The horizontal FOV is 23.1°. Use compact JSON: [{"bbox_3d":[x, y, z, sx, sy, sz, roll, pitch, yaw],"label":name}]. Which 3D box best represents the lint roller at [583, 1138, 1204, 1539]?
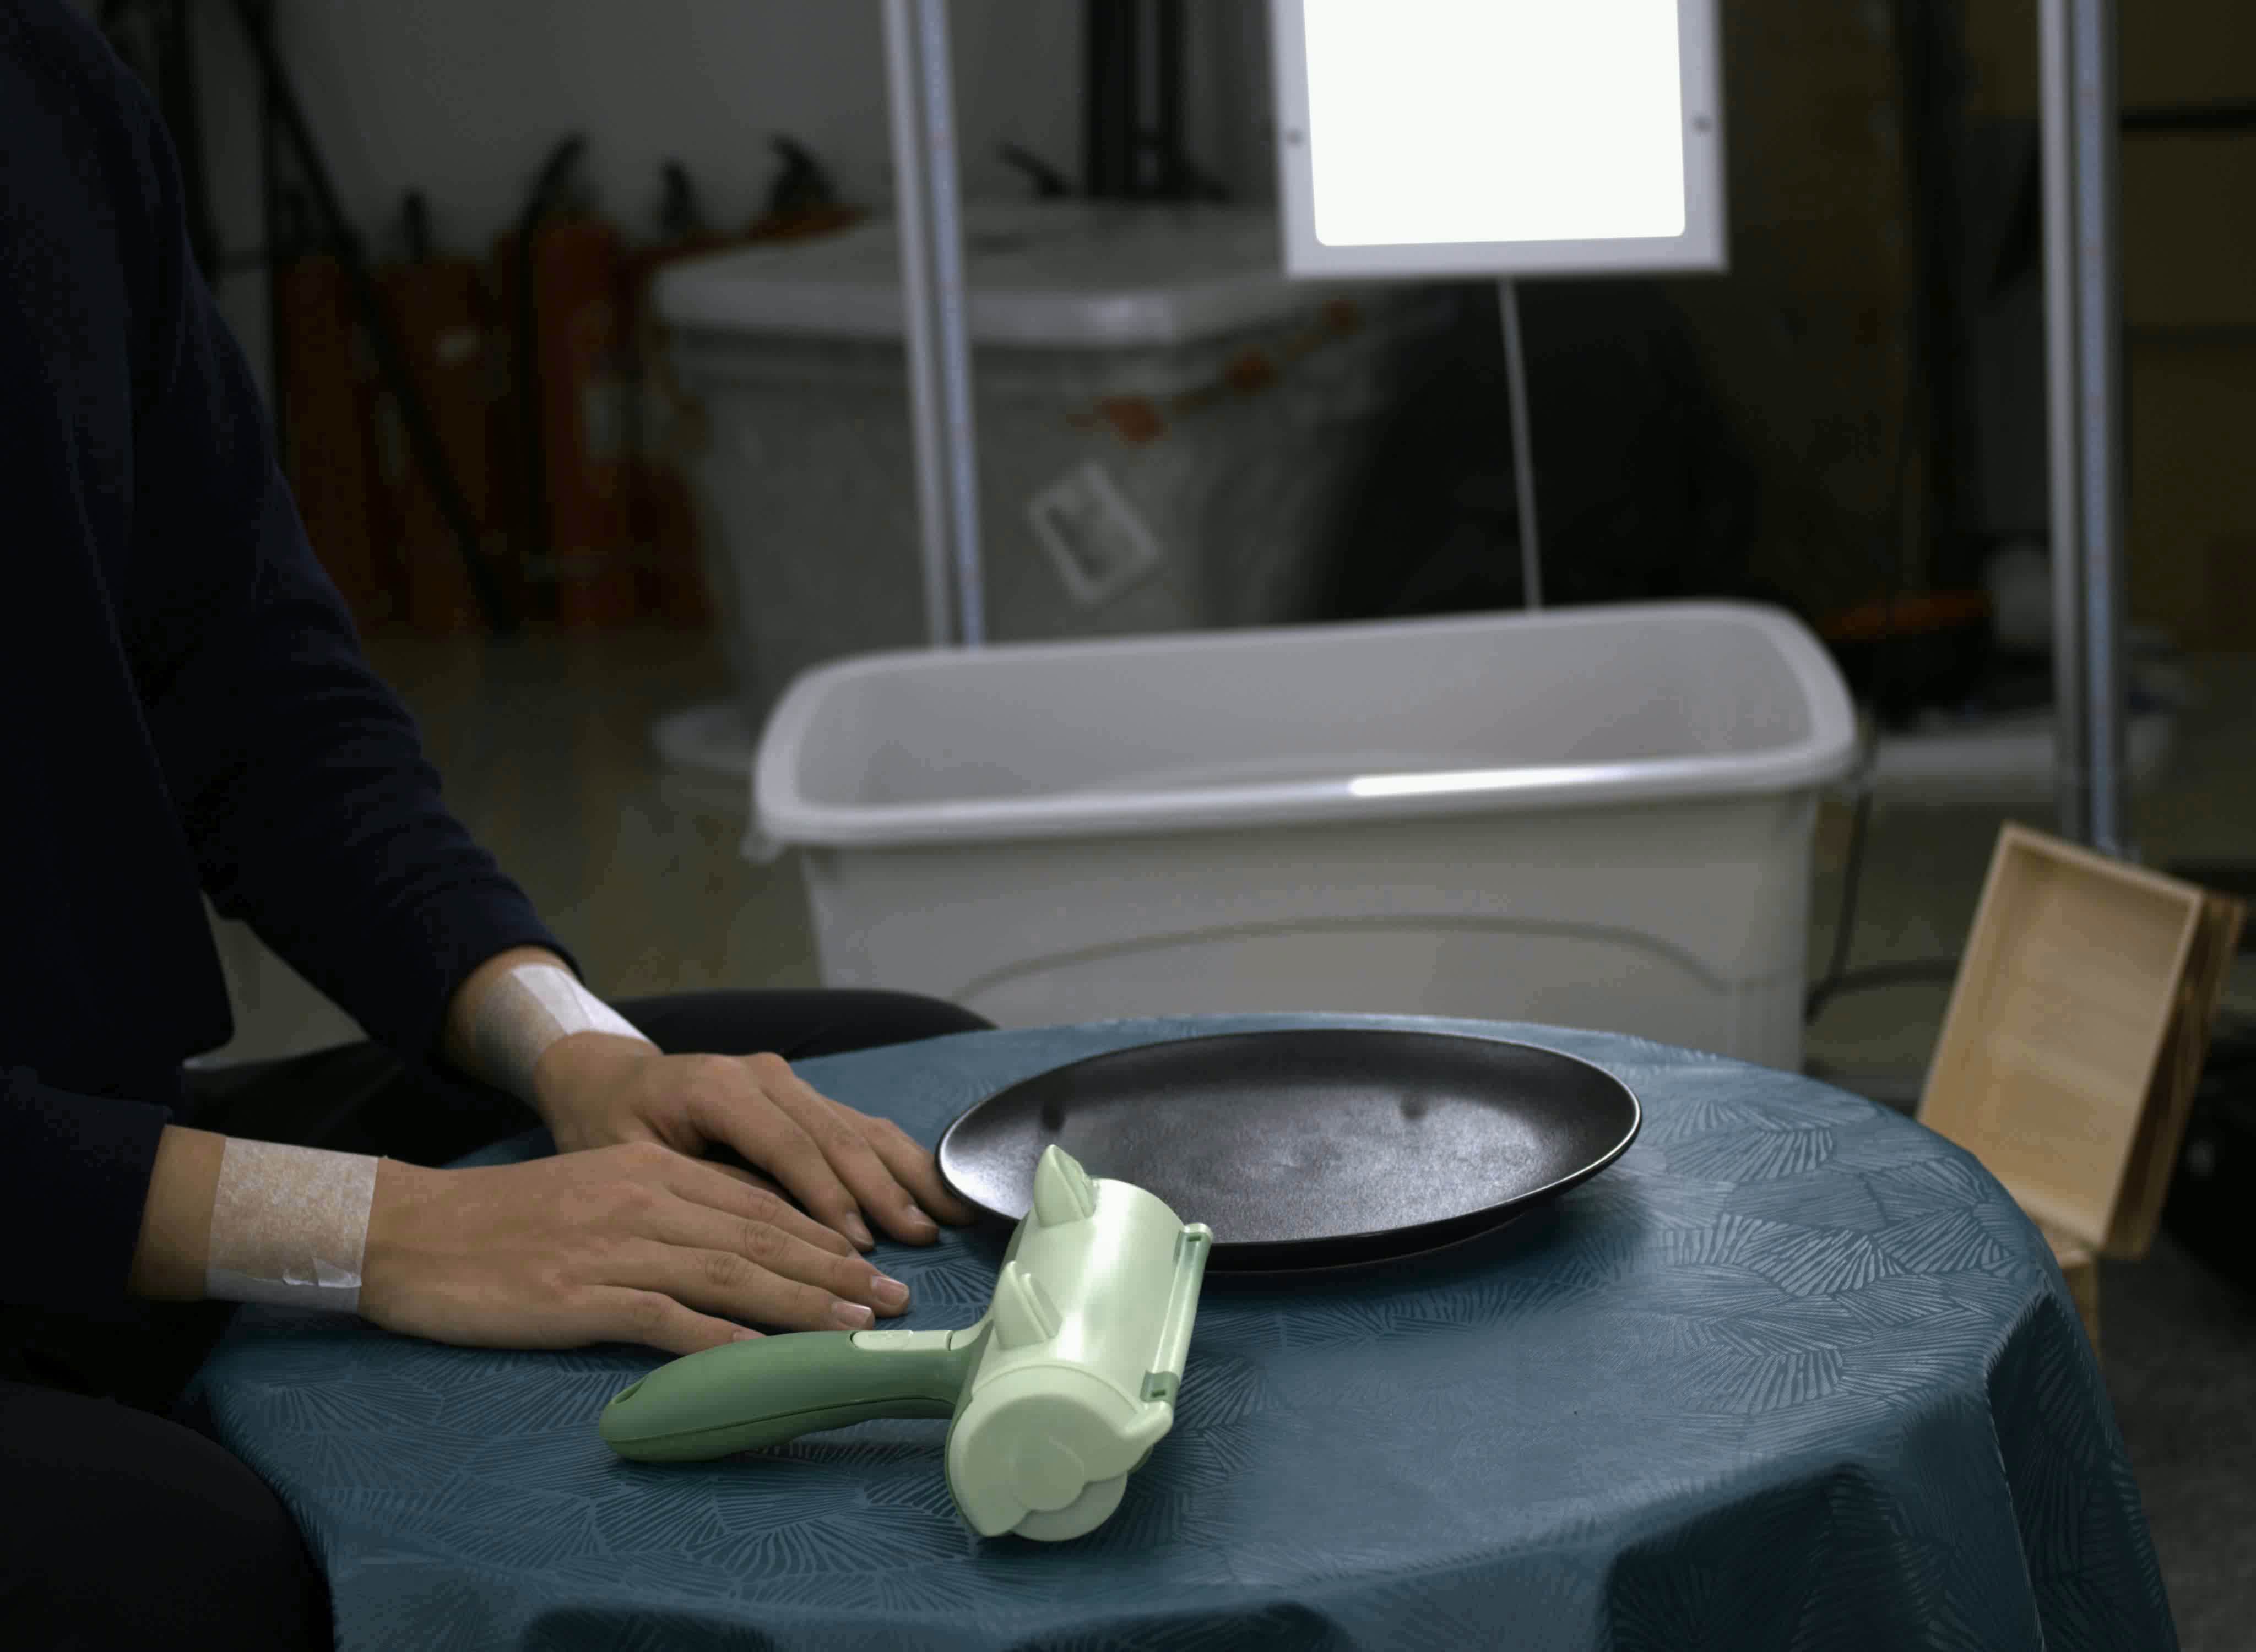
[{"bbox_3d":[-0.073,0.147,1.659,0.183,0.082,0.197,3,14,5],"label":"lint roller"}]

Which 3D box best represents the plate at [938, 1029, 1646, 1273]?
[{"bbox_3d":[0.057,0.113,1.882,0.244,0.023,0.244,-5,14,0],"label":"plate"}]
